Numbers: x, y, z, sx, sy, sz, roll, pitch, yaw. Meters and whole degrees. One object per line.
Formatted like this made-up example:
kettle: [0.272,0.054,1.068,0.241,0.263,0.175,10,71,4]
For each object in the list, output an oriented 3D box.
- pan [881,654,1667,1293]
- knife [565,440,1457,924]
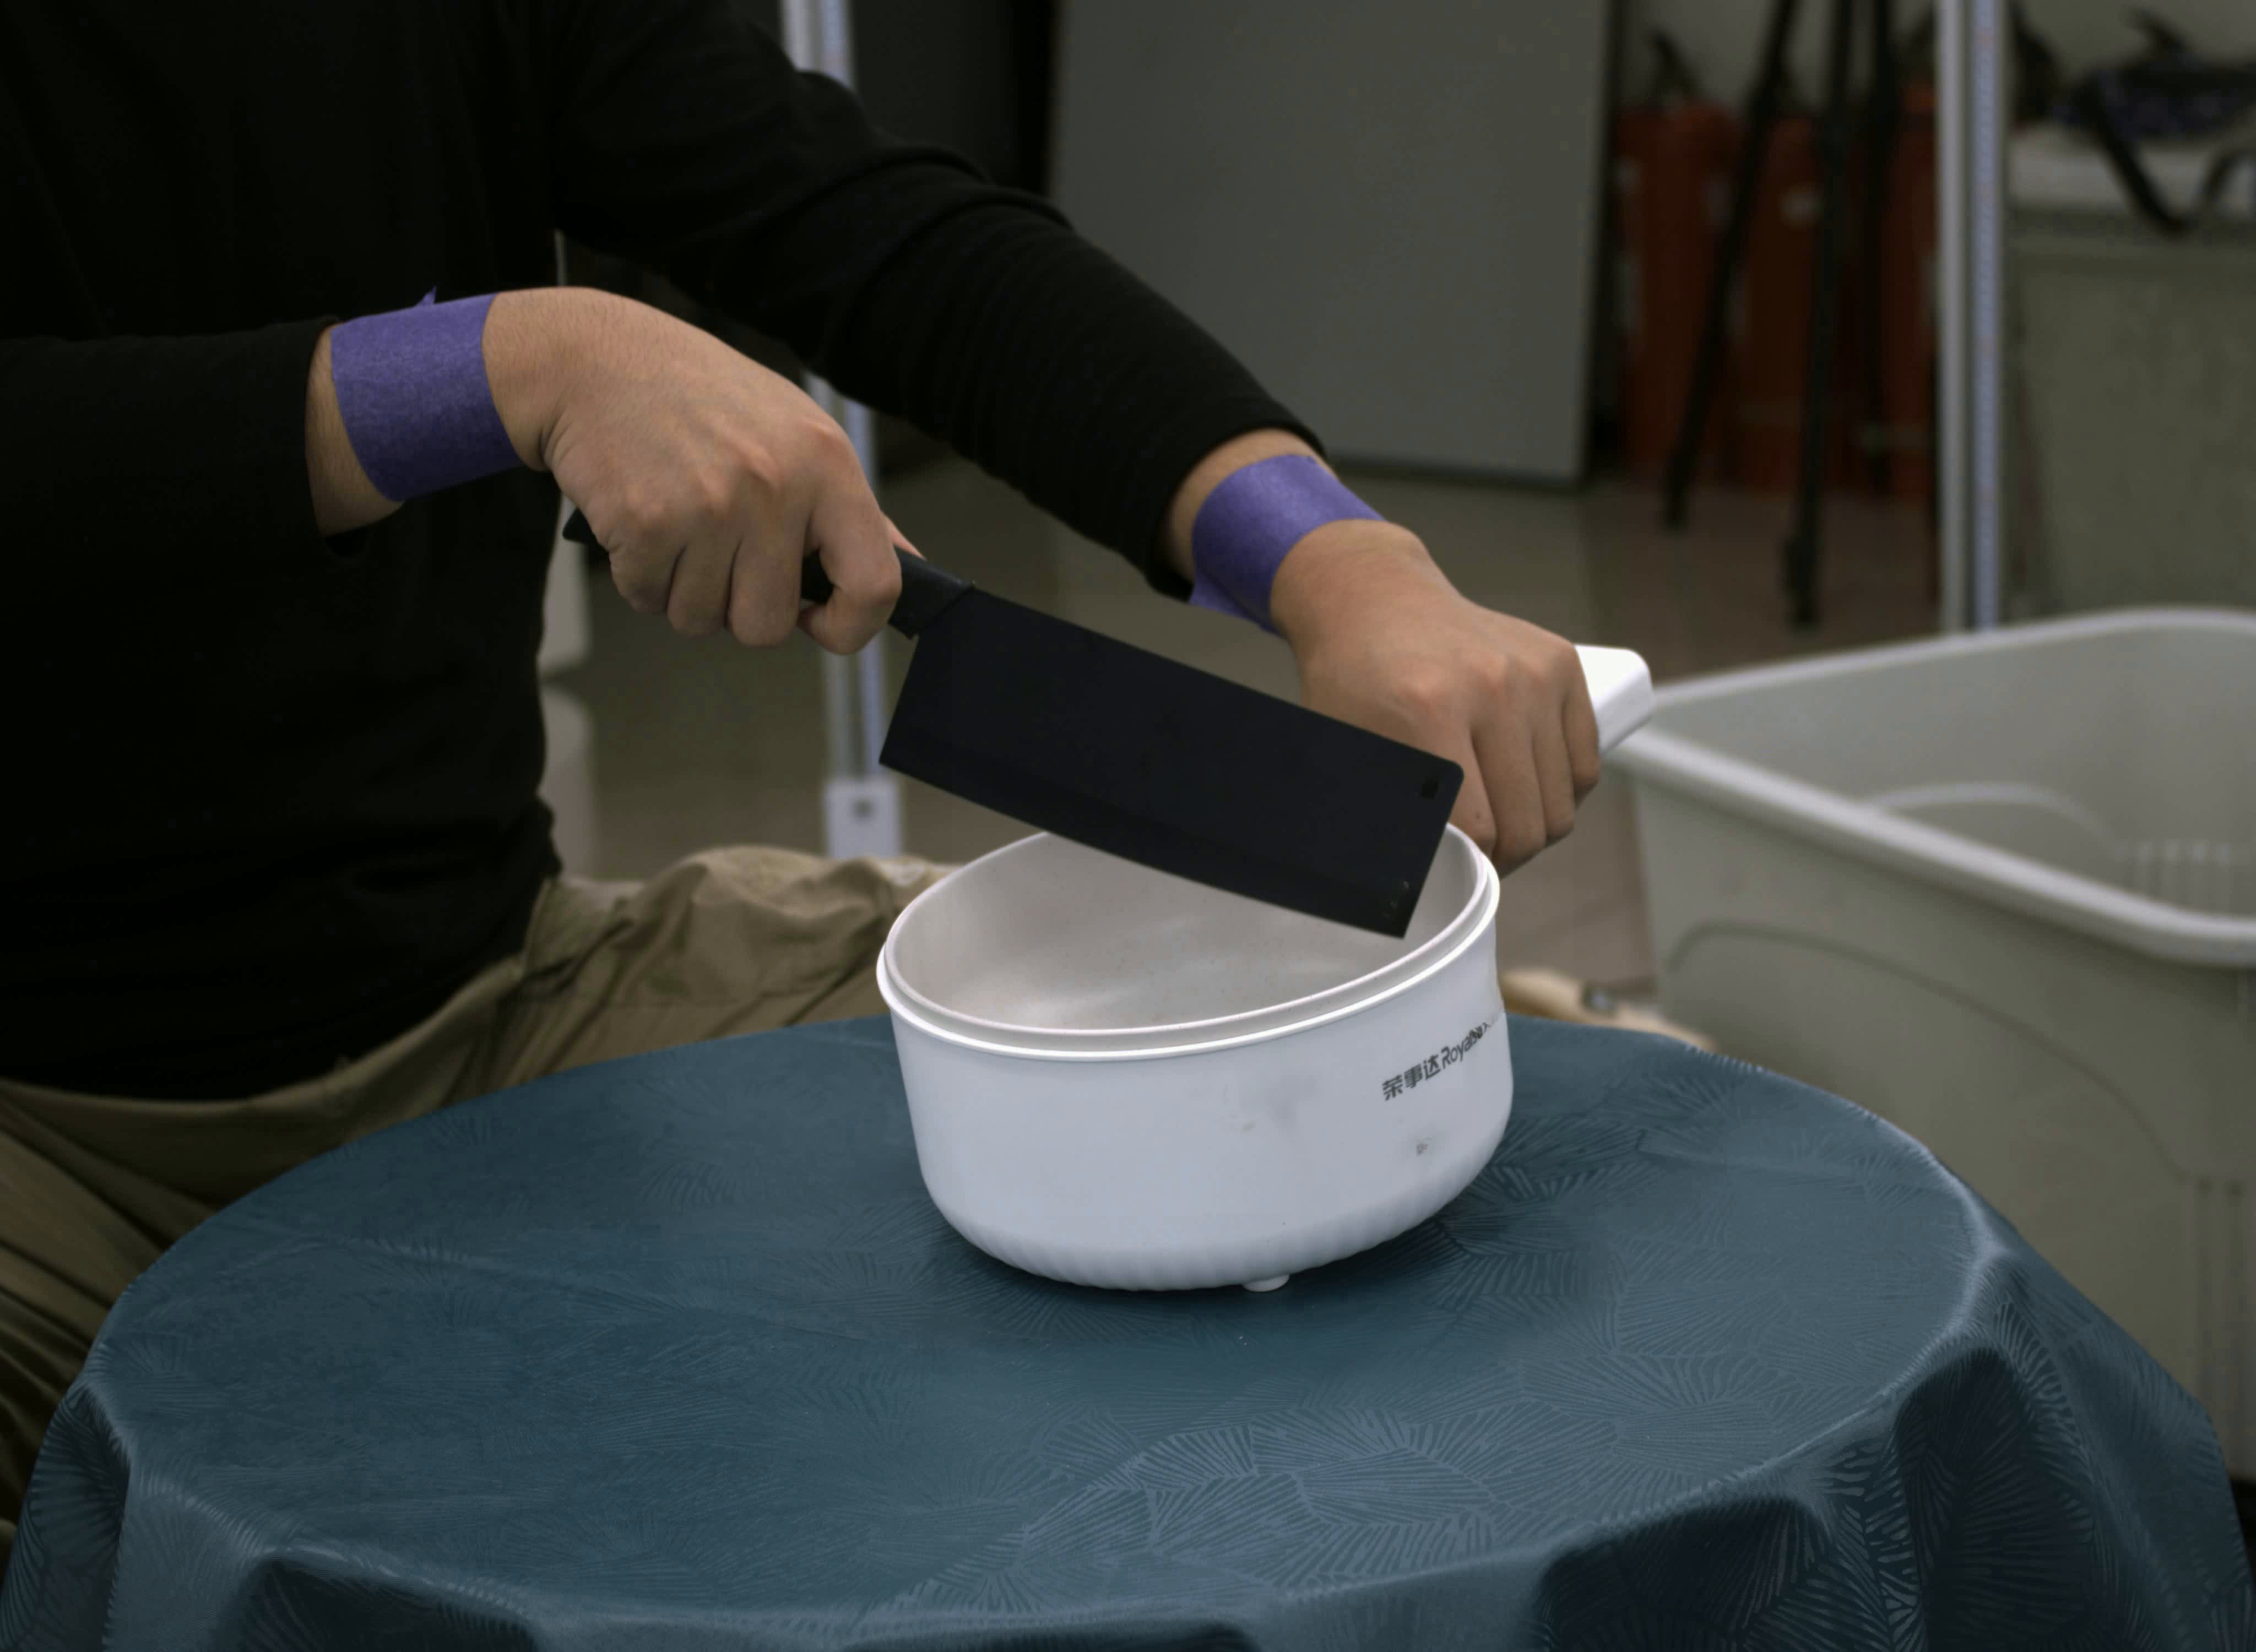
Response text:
pan: [0.071,0.046,1.779,0.203,0.103,0.349,6,24,38]
knife: [-0.041,-0.049,1.729,0.300,0.082,0.021,25,8,5]
